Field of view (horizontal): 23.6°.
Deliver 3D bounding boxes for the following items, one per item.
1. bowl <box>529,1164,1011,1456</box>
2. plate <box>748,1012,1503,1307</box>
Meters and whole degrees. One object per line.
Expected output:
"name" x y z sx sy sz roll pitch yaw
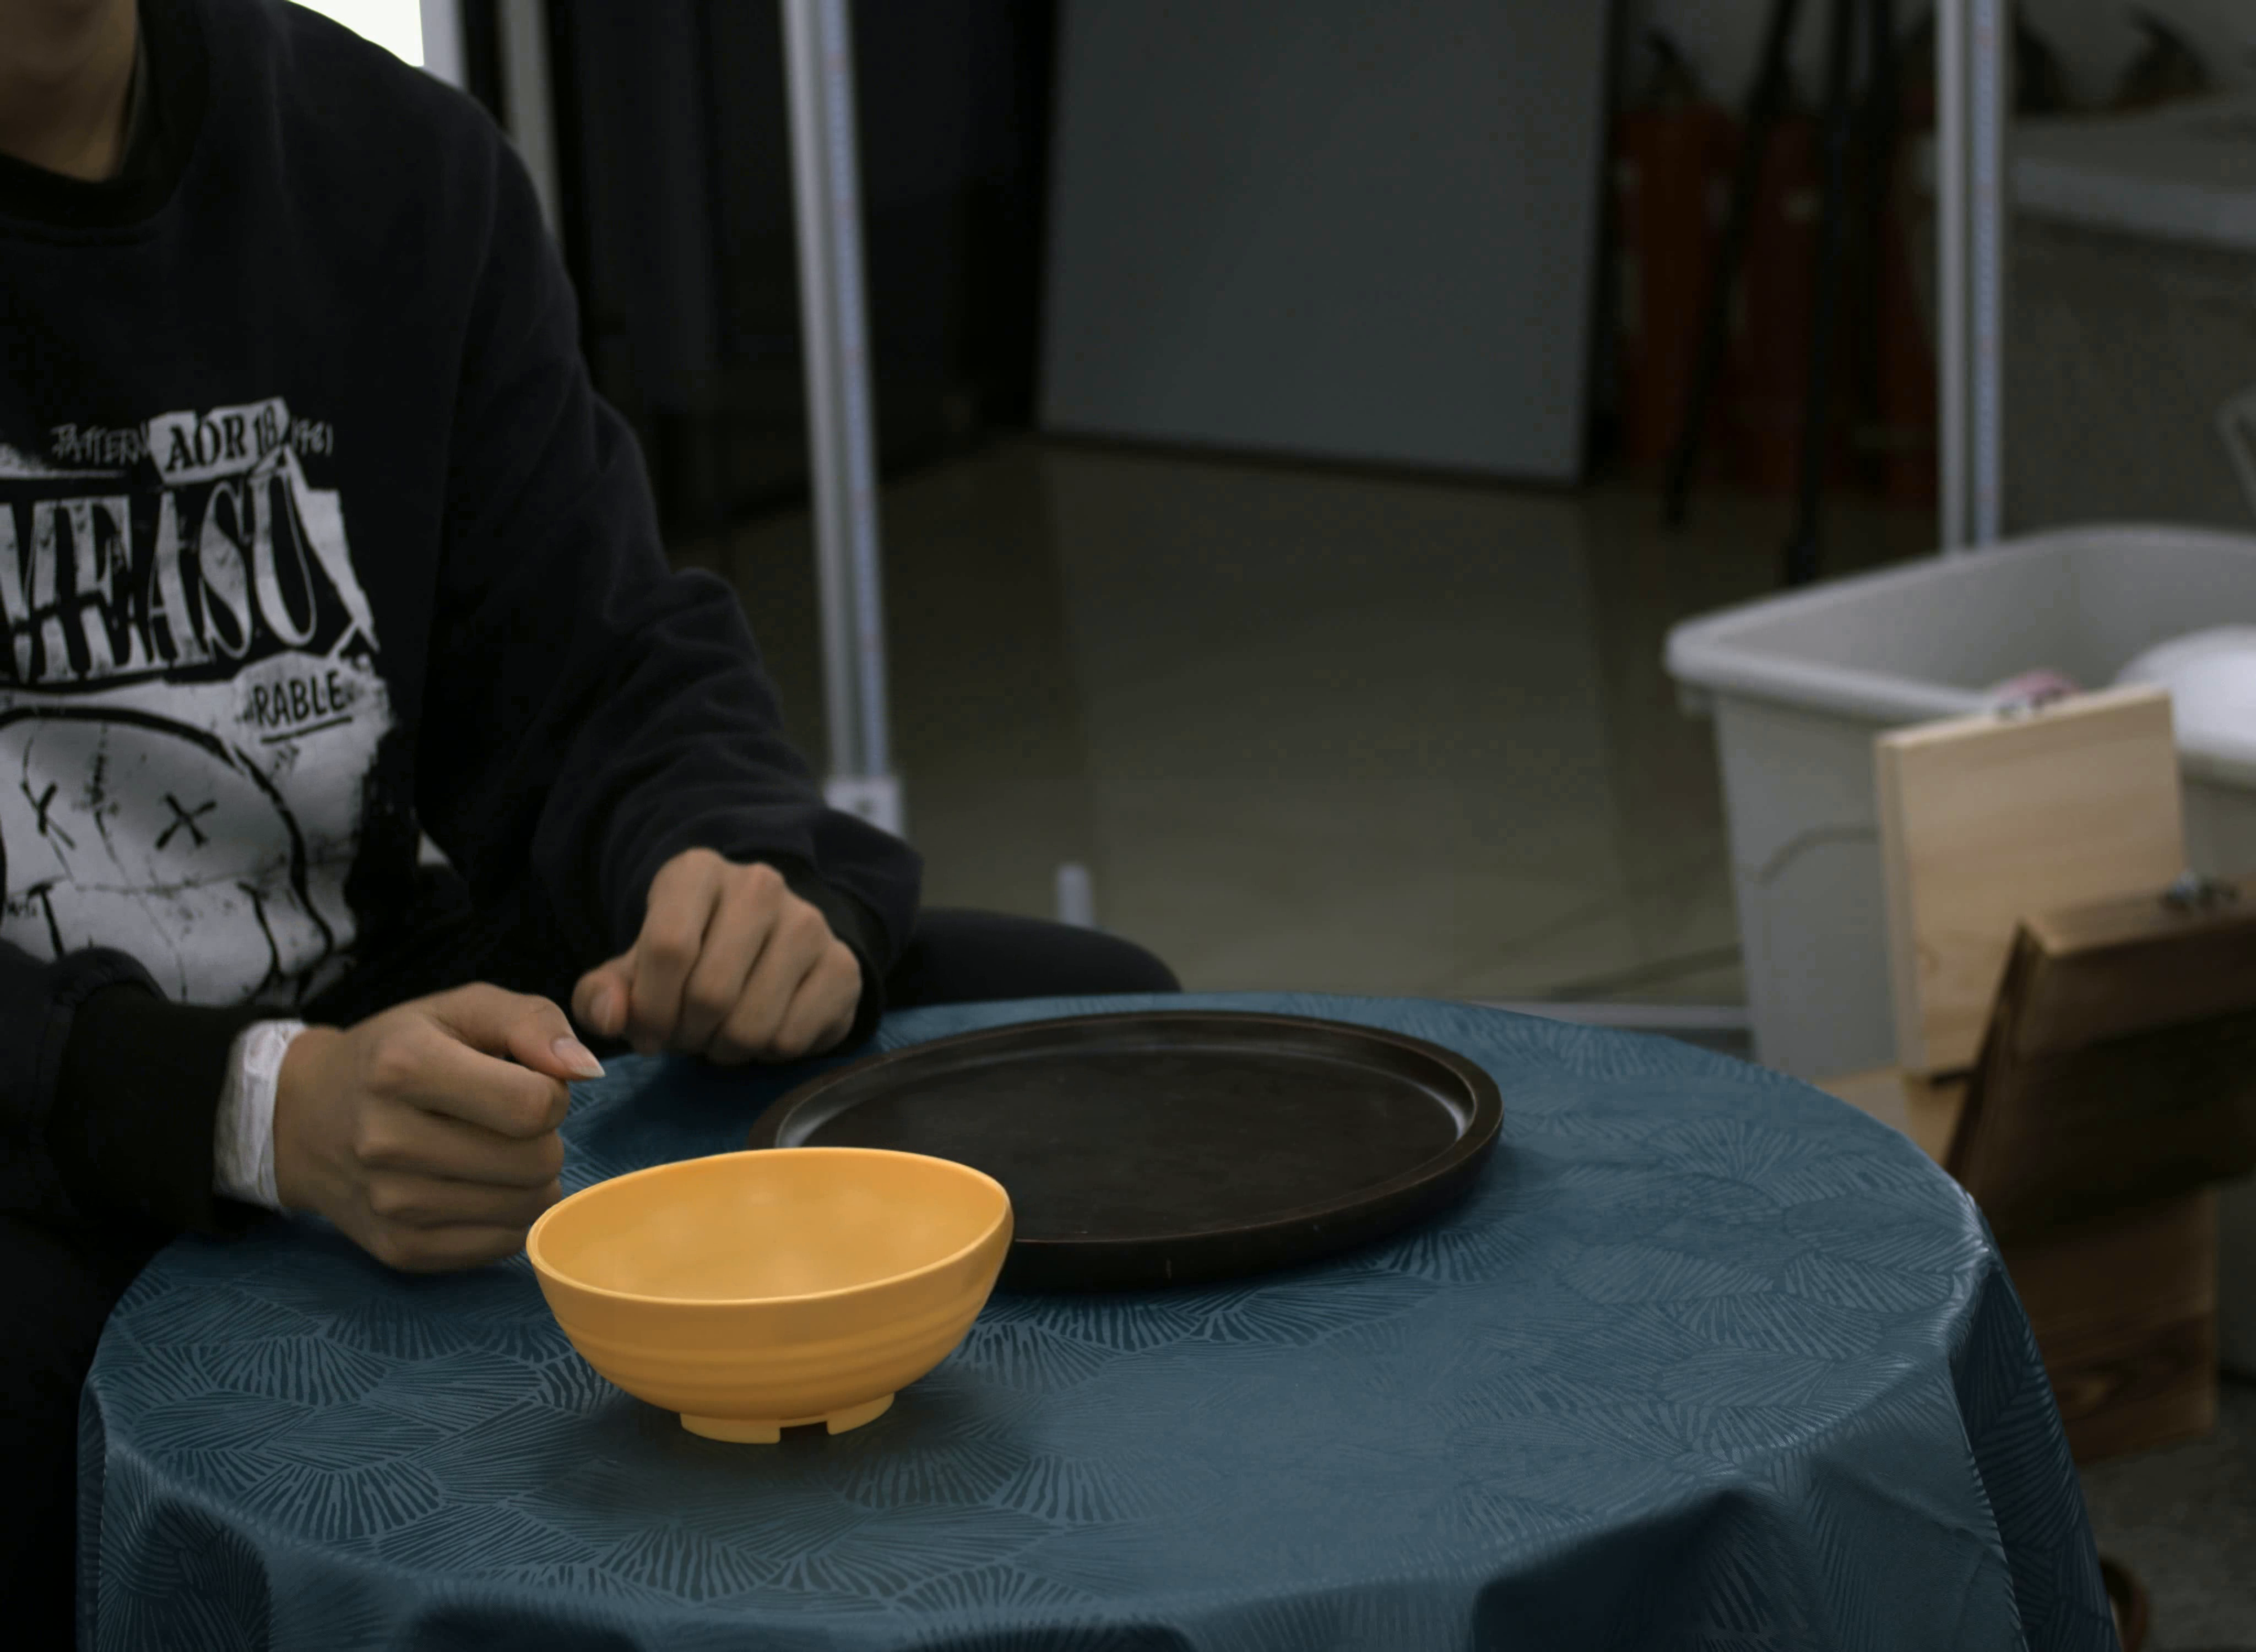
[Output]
"bowl" -0.102 0.146 1.586 0.143 0.061 0.145 -6 12 0
"plate" 0.000 0.107 1.781 0.251 0.029 0.255 -6 15 1
